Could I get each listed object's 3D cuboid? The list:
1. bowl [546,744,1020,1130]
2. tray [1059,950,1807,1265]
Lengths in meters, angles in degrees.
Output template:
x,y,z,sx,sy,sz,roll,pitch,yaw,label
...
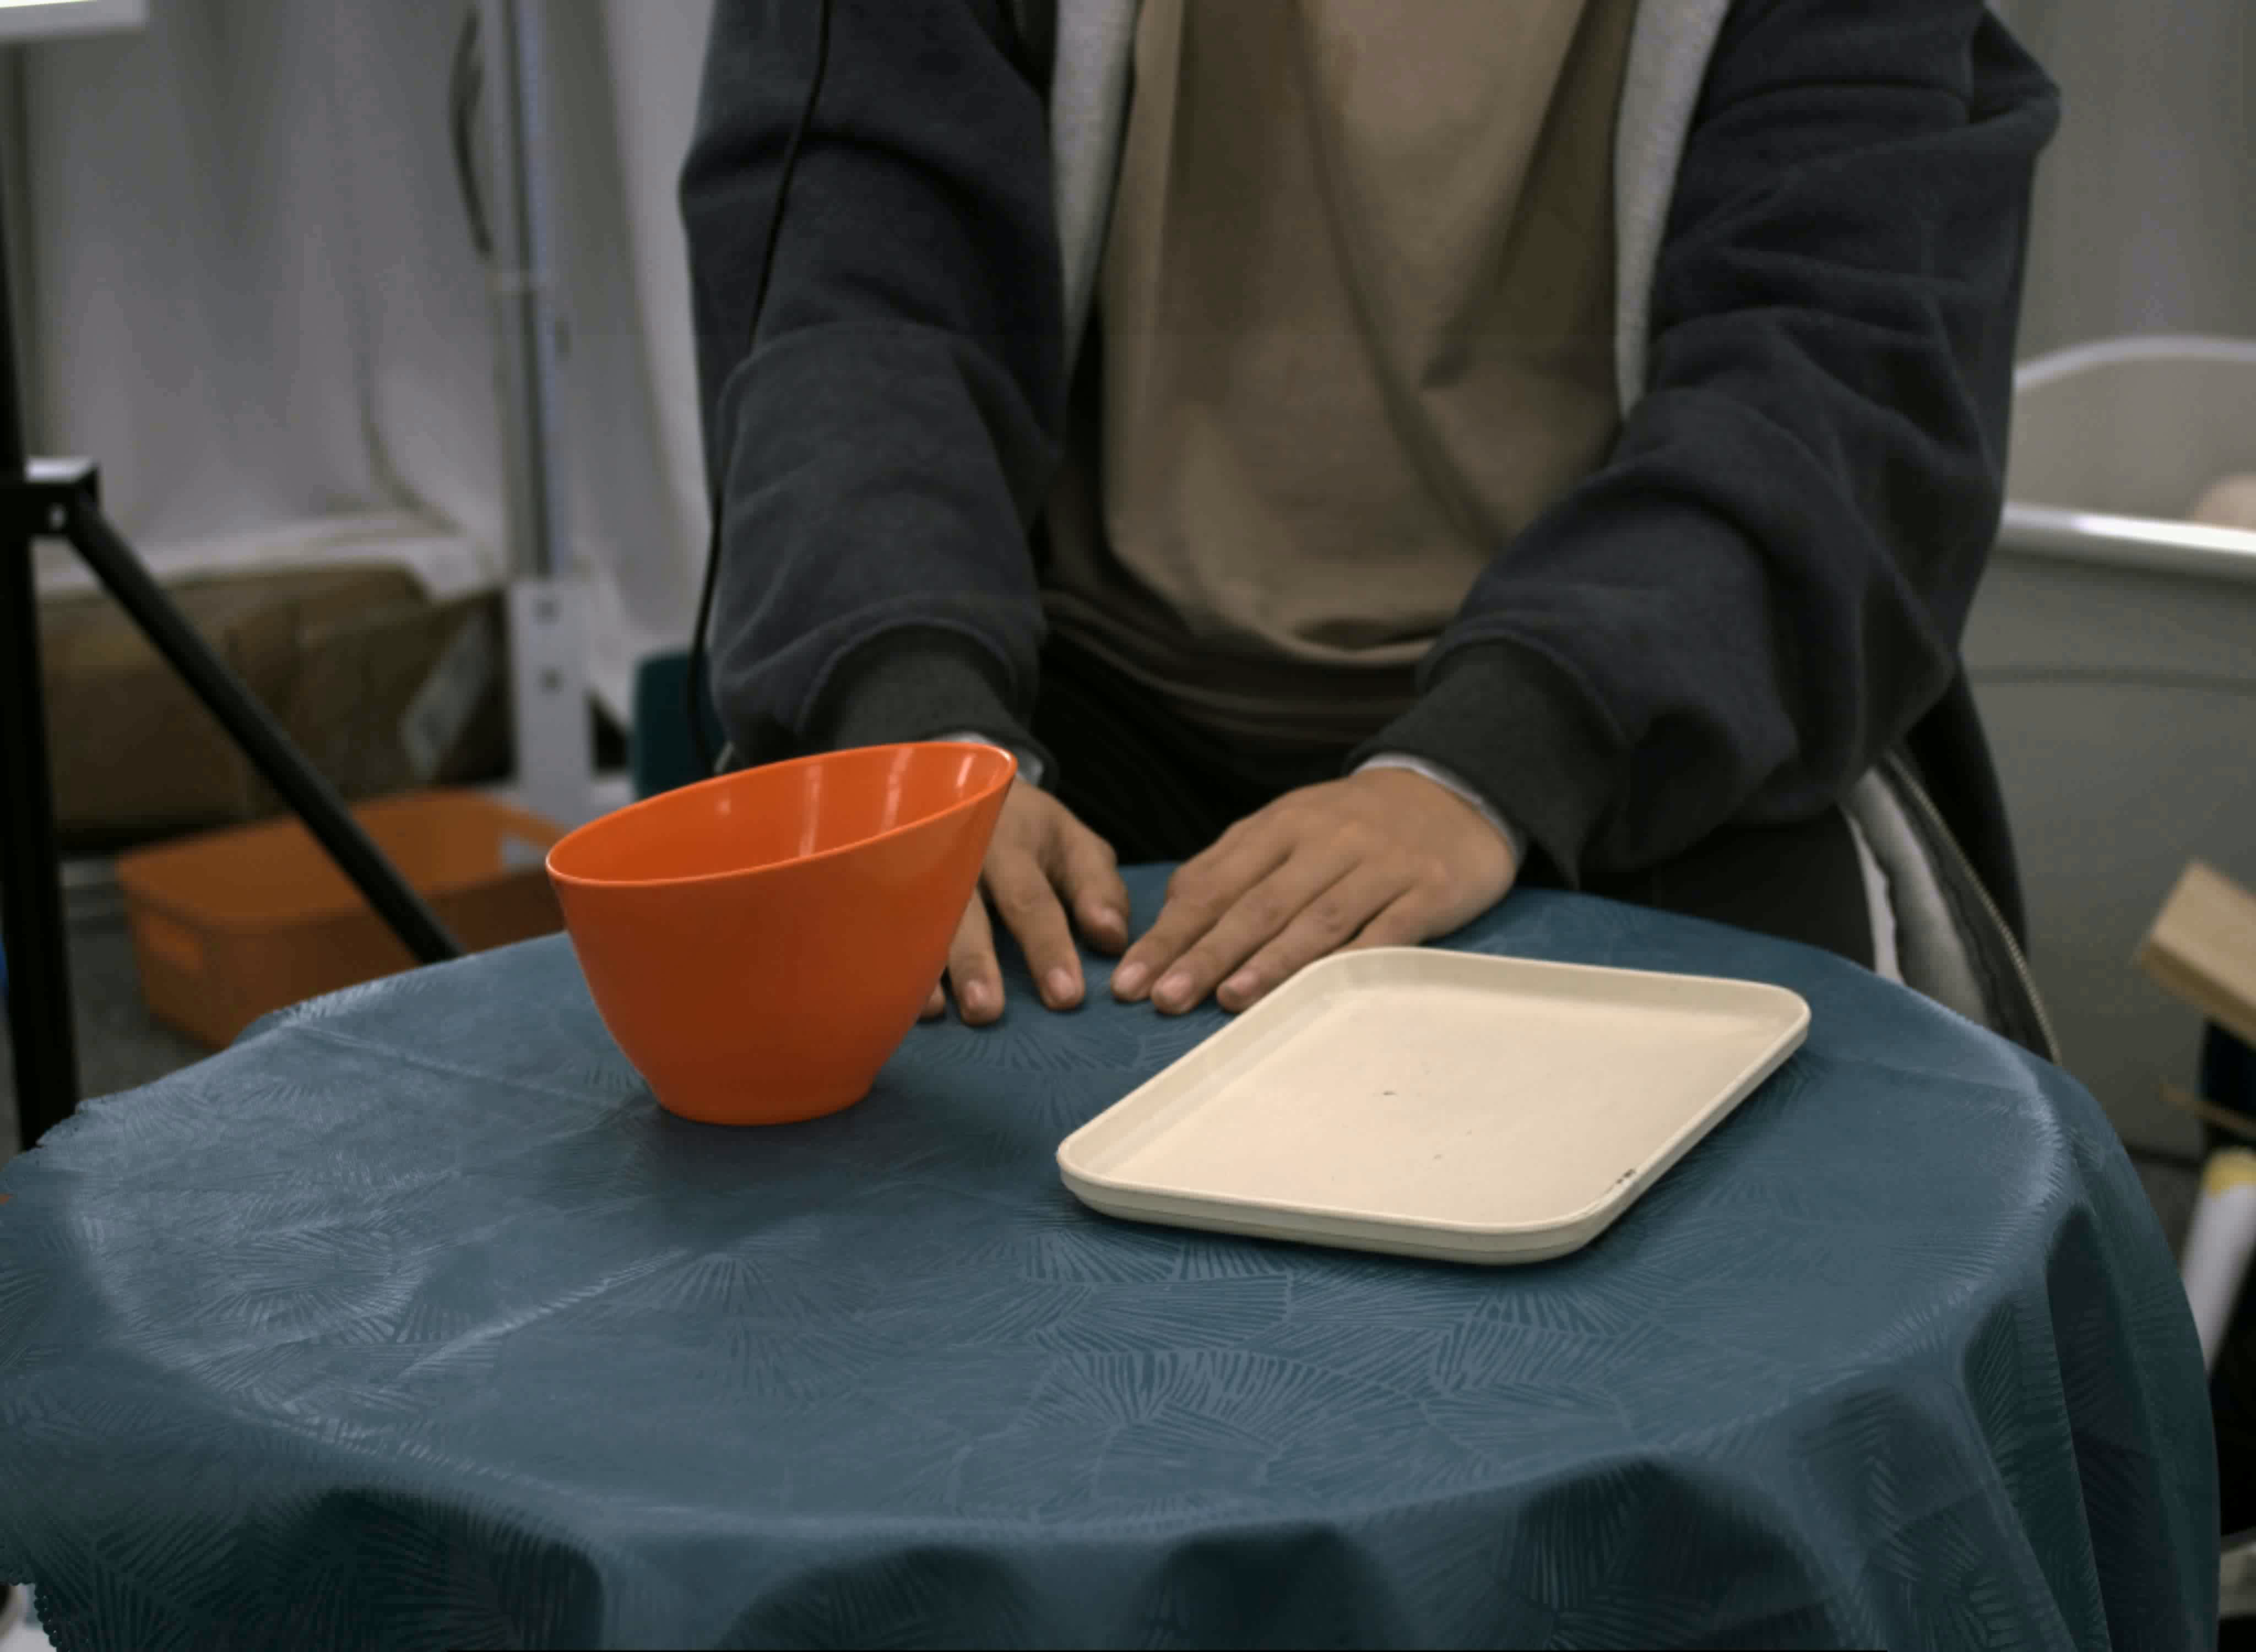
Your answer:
x,y,z,sx,sy,sz,roll,pitch,yaw,label
-0.105,0.036,1.650,0.147,0.104,0.149,-2,17,-1,bowl
0.096,0.084,1.599,0.174,0.017,0.236,5,17,26,tray
